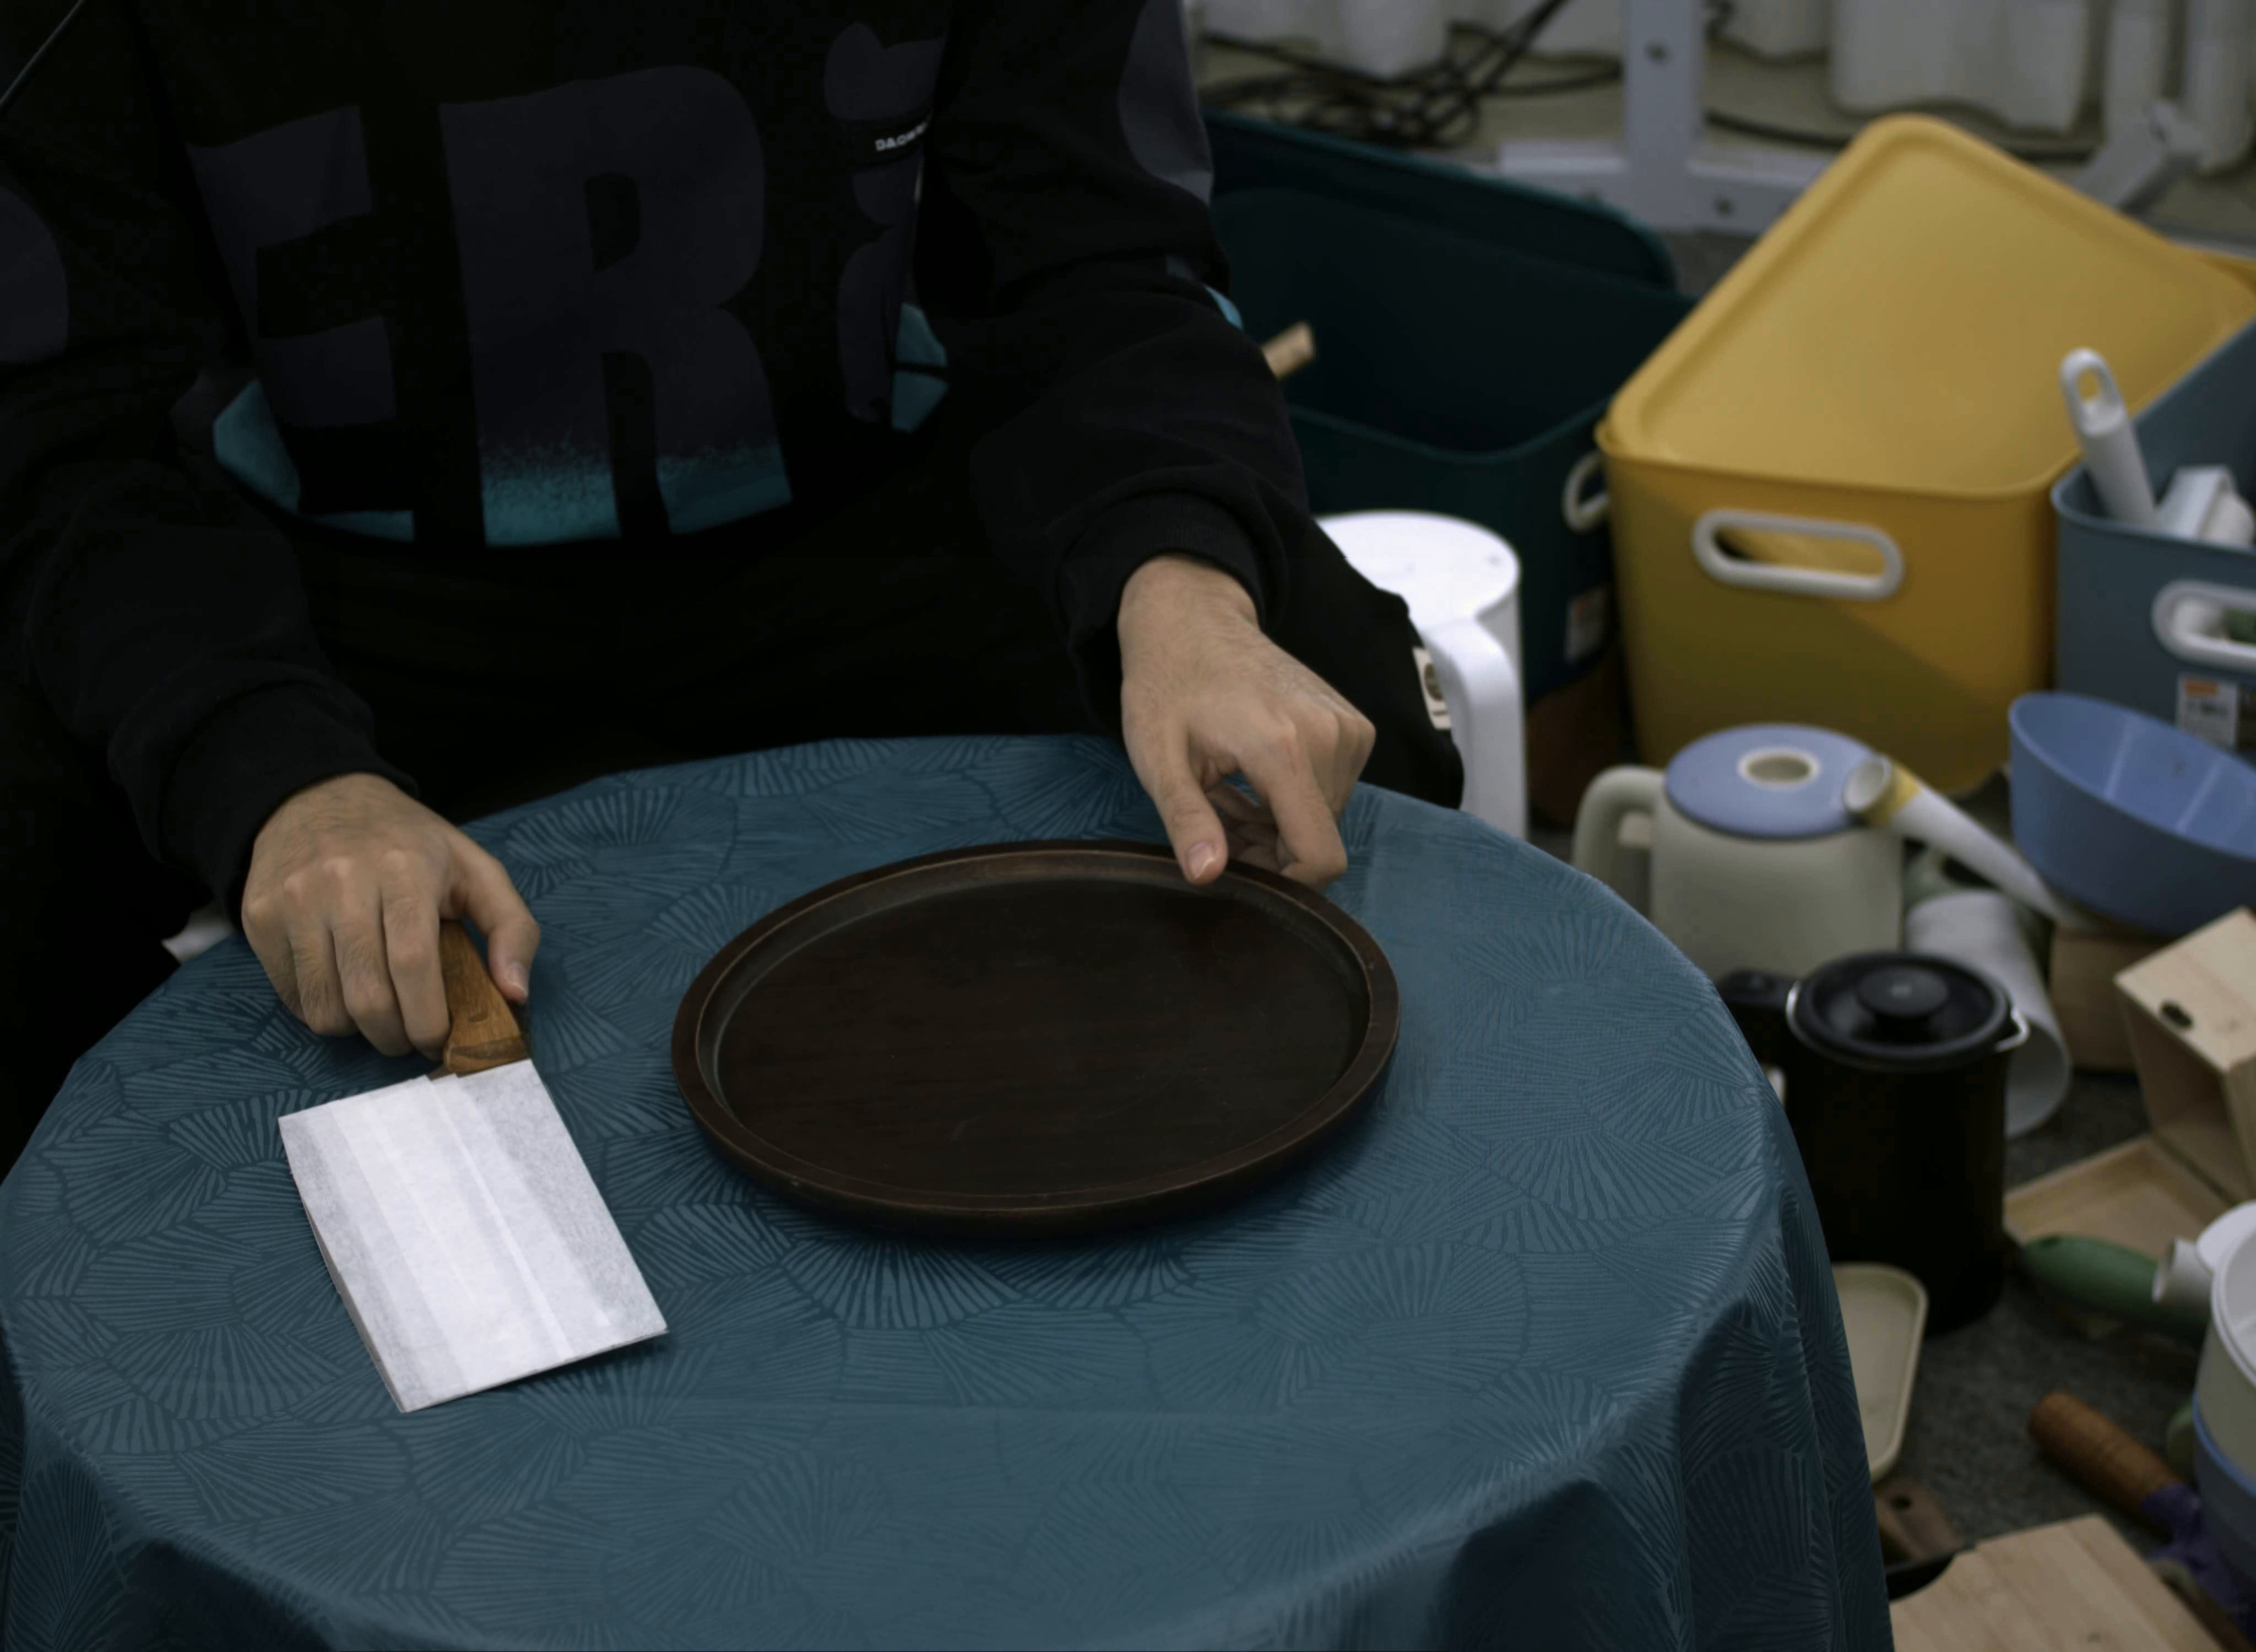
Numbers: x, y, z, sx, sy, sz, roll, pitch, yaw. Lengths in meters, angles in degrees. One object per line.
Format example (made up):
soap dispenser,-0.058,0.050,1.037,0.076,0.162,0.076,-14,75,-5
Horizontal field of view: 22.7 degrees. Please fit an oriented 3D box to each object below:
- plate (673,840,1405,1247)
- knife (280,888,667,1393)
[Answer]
plate,-0.030,0.073,1.932,0.253,0.029,0.259,-1,27,1
knife,-0.236,0.106,1.902,0.093,0.021,0.308,-16,31,-13
